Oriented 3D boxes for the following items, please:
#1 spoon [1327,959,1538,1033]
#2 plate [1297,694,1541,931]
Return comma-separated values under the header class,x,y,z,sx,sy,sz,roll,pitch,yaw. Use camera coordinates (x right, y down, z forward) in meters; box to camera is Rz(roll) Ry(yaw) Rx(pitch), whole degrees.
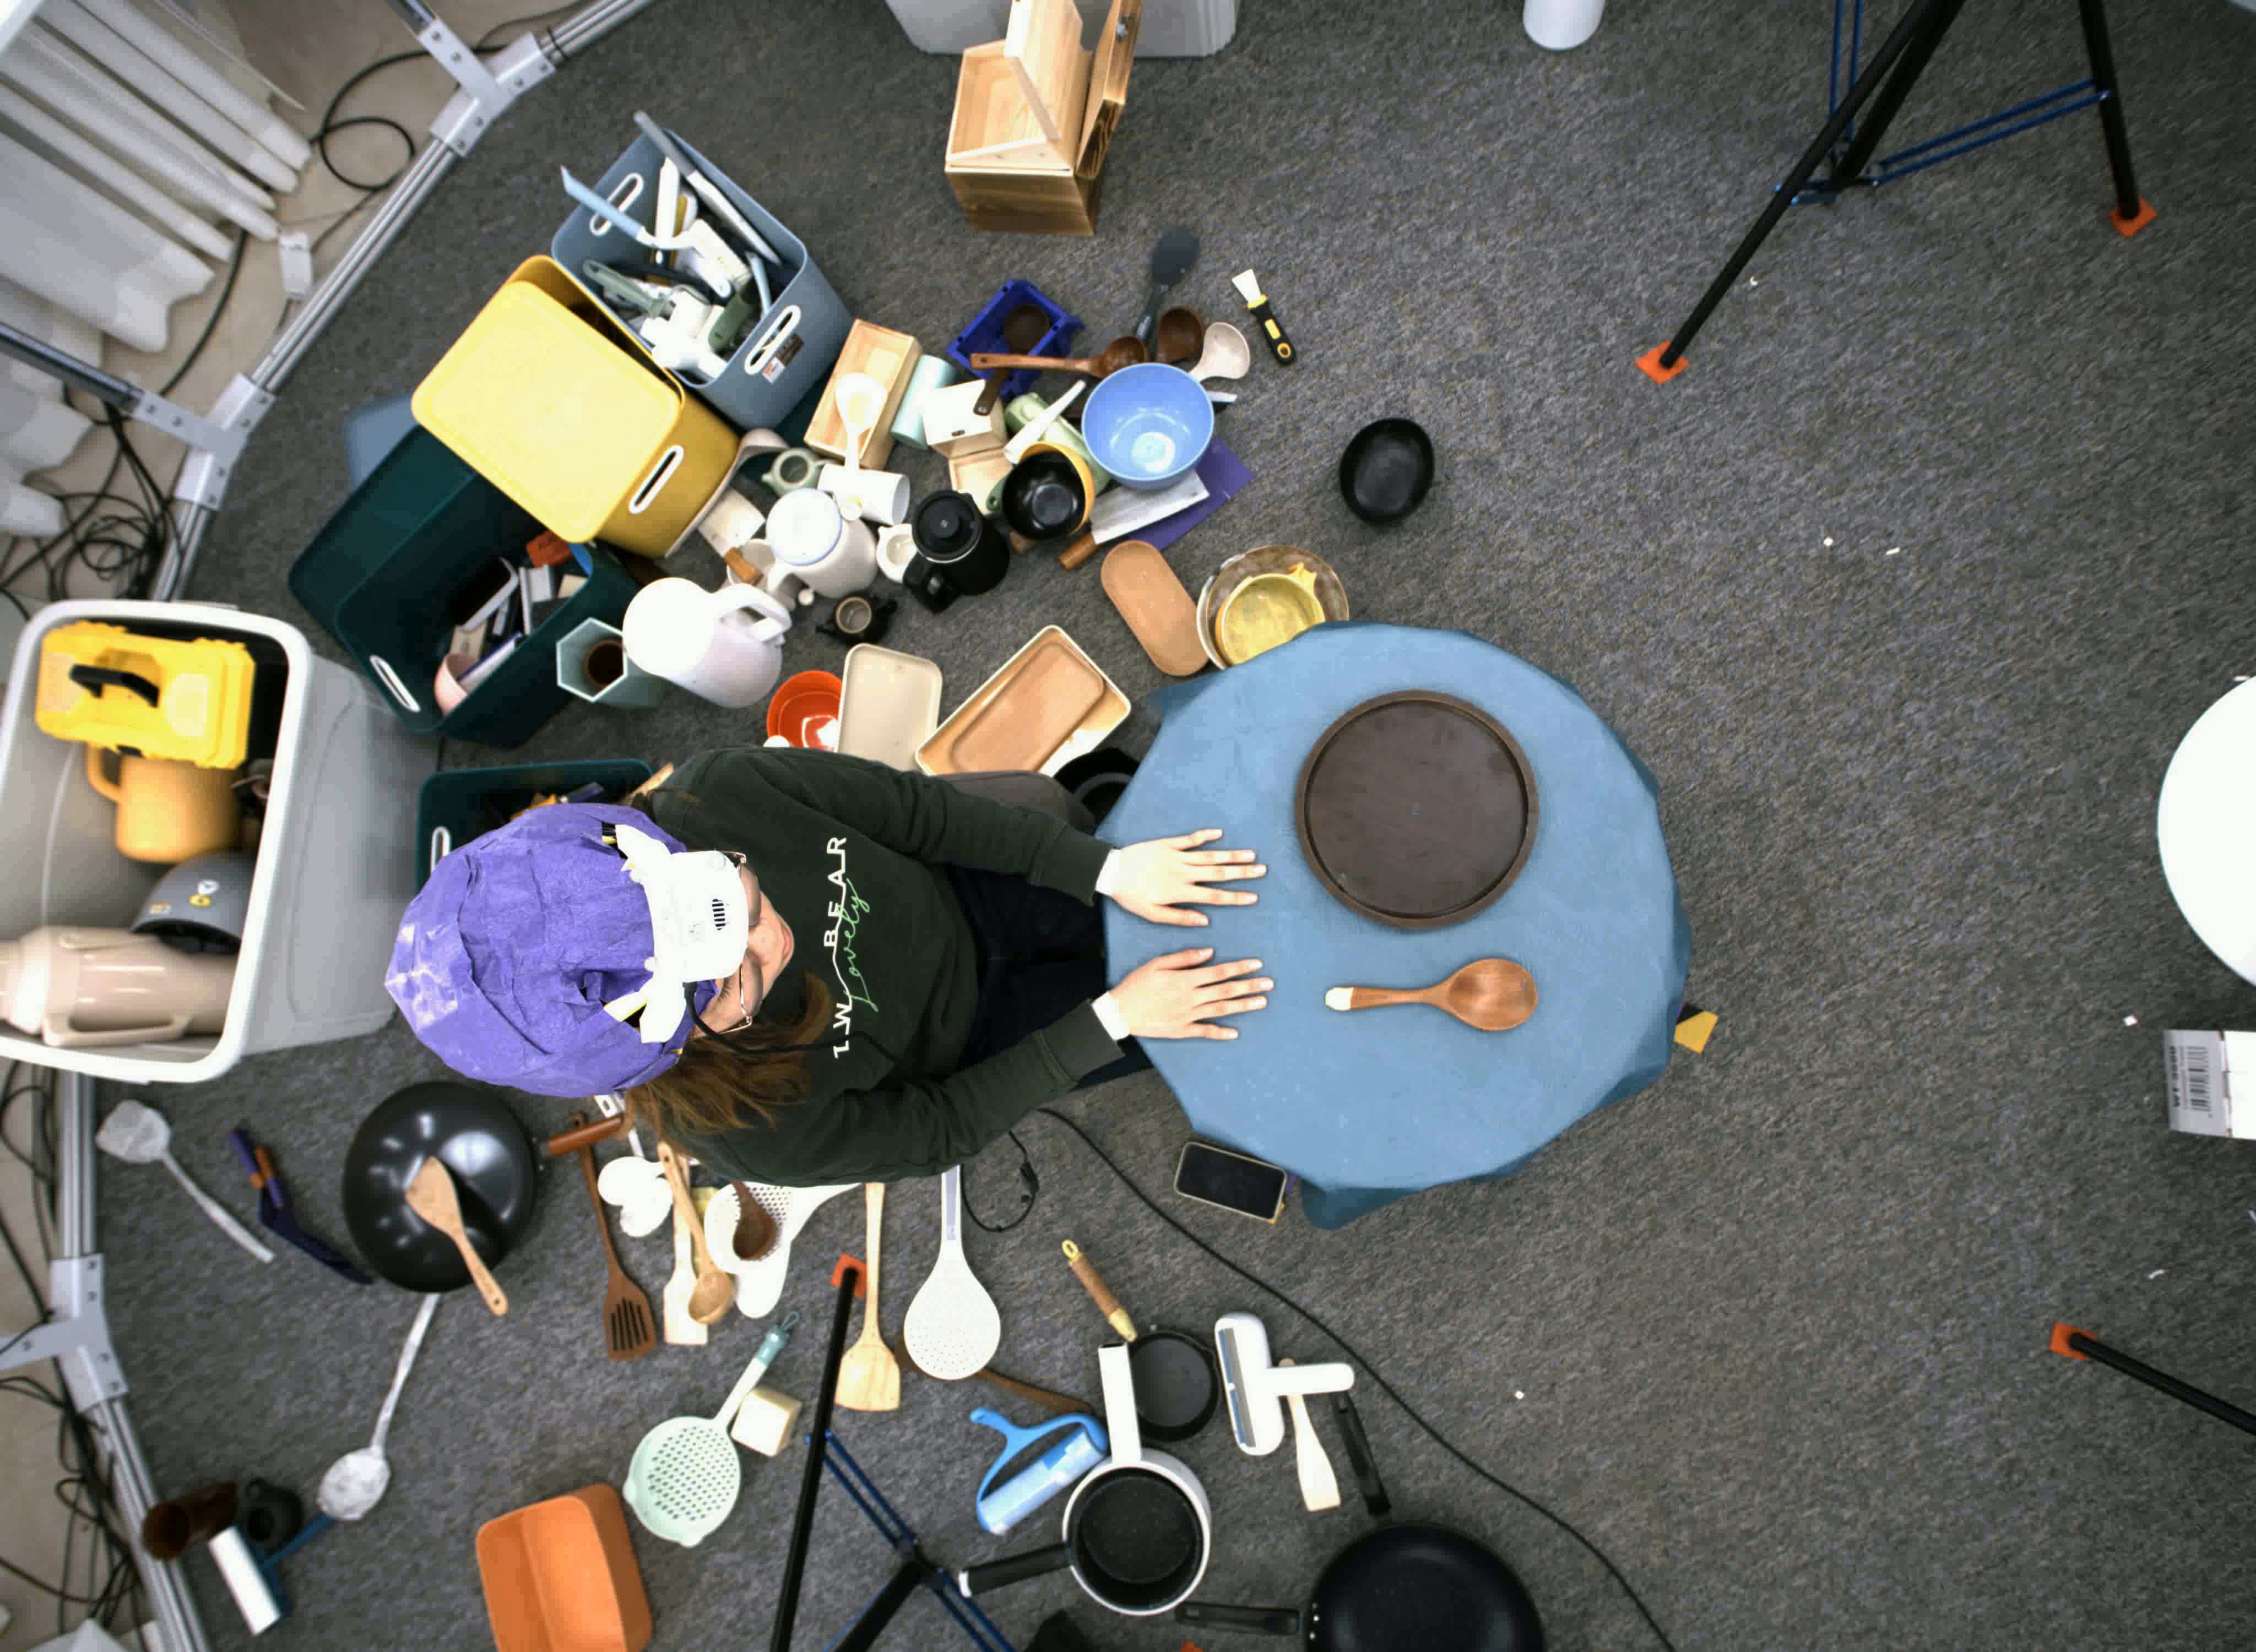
class,x,y,z,sx,sy,sz,roll,pitch,yaw
spoon,0.316,0.178,1.440,0.217,0.017,0.075,-3,85,10
plate,0.305,-0.016,1.453,0.256,0.029,0.253,-1,85,10
